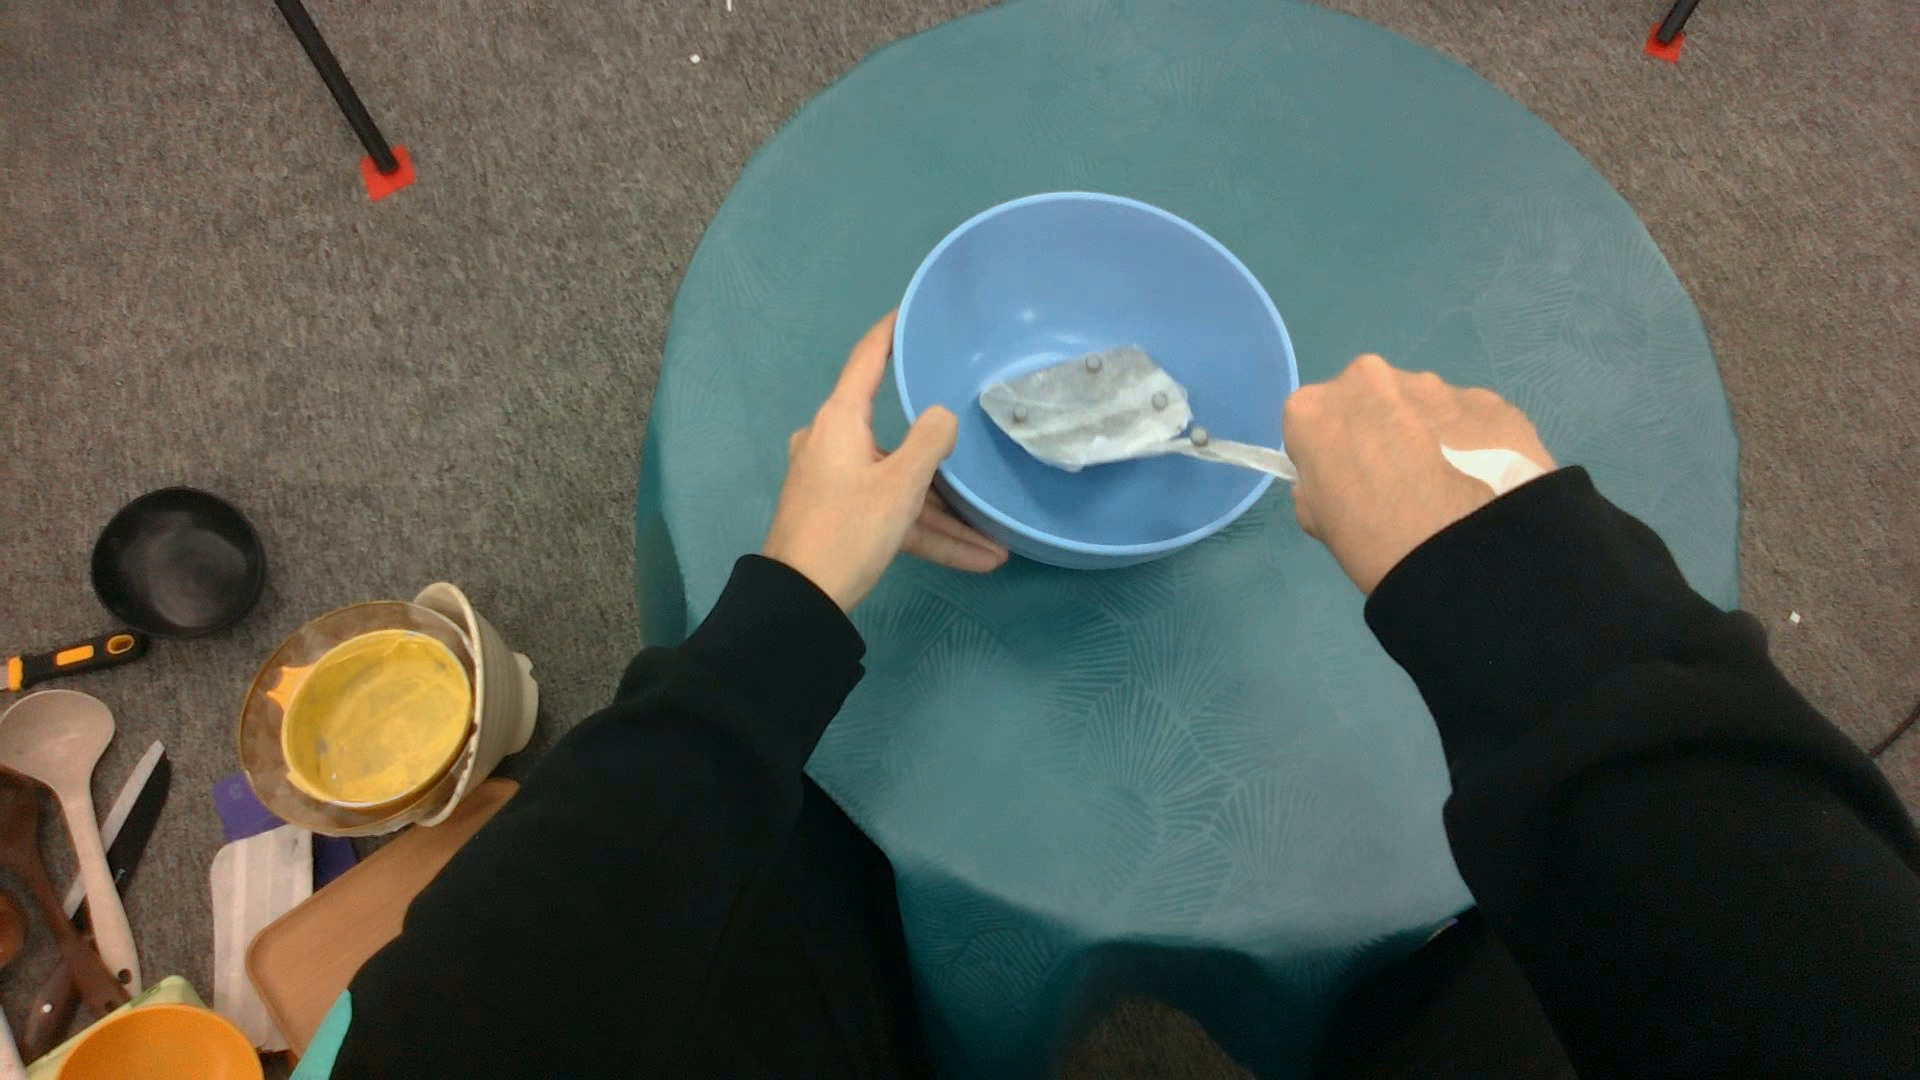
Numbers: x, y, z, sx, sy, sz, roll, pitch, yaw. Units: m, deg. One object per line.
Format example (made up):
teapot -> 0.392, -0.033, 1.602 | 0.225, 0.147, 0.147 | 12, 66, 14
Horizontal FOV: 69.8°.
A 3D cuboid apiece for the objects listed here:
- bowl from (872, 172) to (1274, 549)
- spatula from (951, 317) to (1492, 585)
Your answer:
bowl -> 0.048, -0.076, 0.692 | 0.196, 0.095, 0.197 | 4, 66, -9
spatula -> 0.100, -0.050, 0.582 | 0.099, 0.365, 0.044 | -18, 109, -16
